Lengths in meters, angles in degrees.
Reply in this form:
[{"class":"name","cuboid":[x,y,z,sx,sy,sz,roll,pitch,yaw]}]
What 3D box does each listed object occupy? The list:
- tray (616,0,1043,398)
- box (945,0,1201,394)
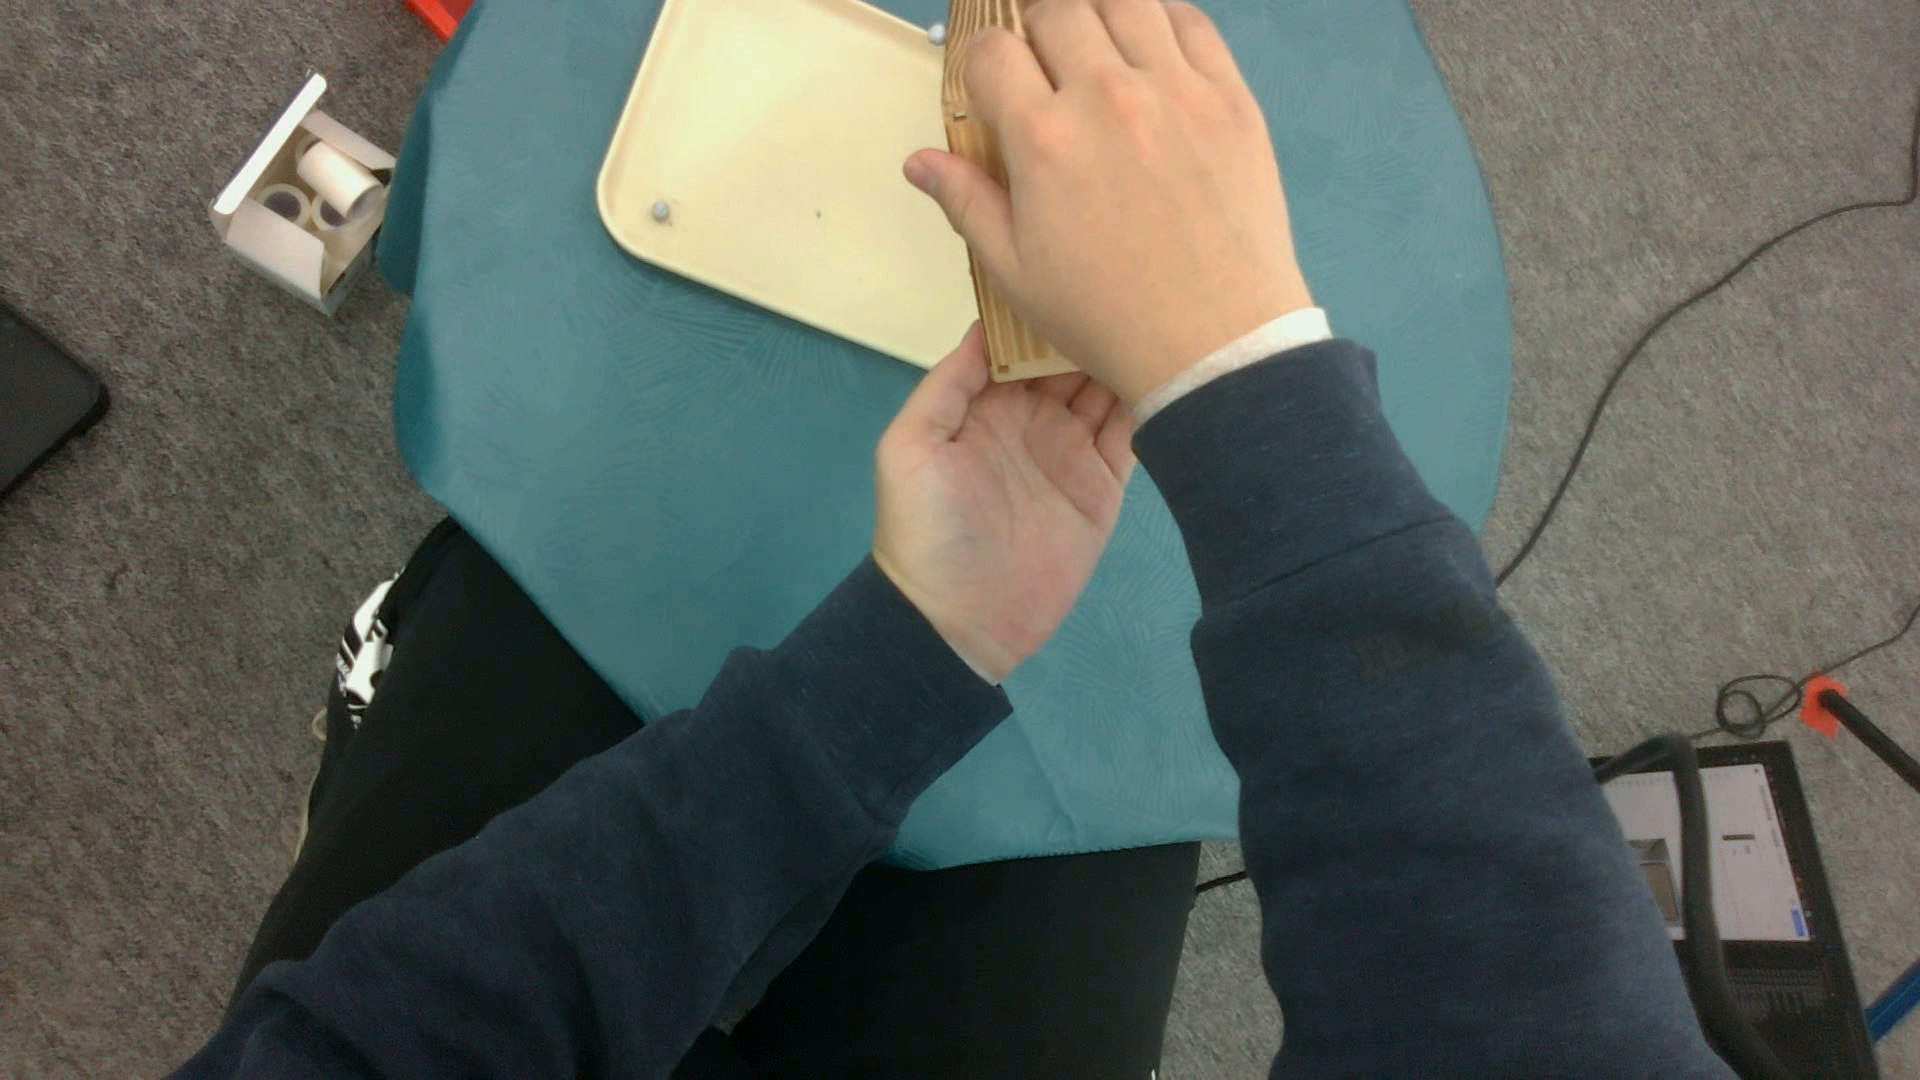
[{"class":"tray","cuboid":[-0.044,-0.182,0.718,0.240,0.017,0.171,19,78,-12]},{"class":"box","cuboid":[0.044,-0.164,0.580,0.080,0.212,0.107,-8,124,6]}]
